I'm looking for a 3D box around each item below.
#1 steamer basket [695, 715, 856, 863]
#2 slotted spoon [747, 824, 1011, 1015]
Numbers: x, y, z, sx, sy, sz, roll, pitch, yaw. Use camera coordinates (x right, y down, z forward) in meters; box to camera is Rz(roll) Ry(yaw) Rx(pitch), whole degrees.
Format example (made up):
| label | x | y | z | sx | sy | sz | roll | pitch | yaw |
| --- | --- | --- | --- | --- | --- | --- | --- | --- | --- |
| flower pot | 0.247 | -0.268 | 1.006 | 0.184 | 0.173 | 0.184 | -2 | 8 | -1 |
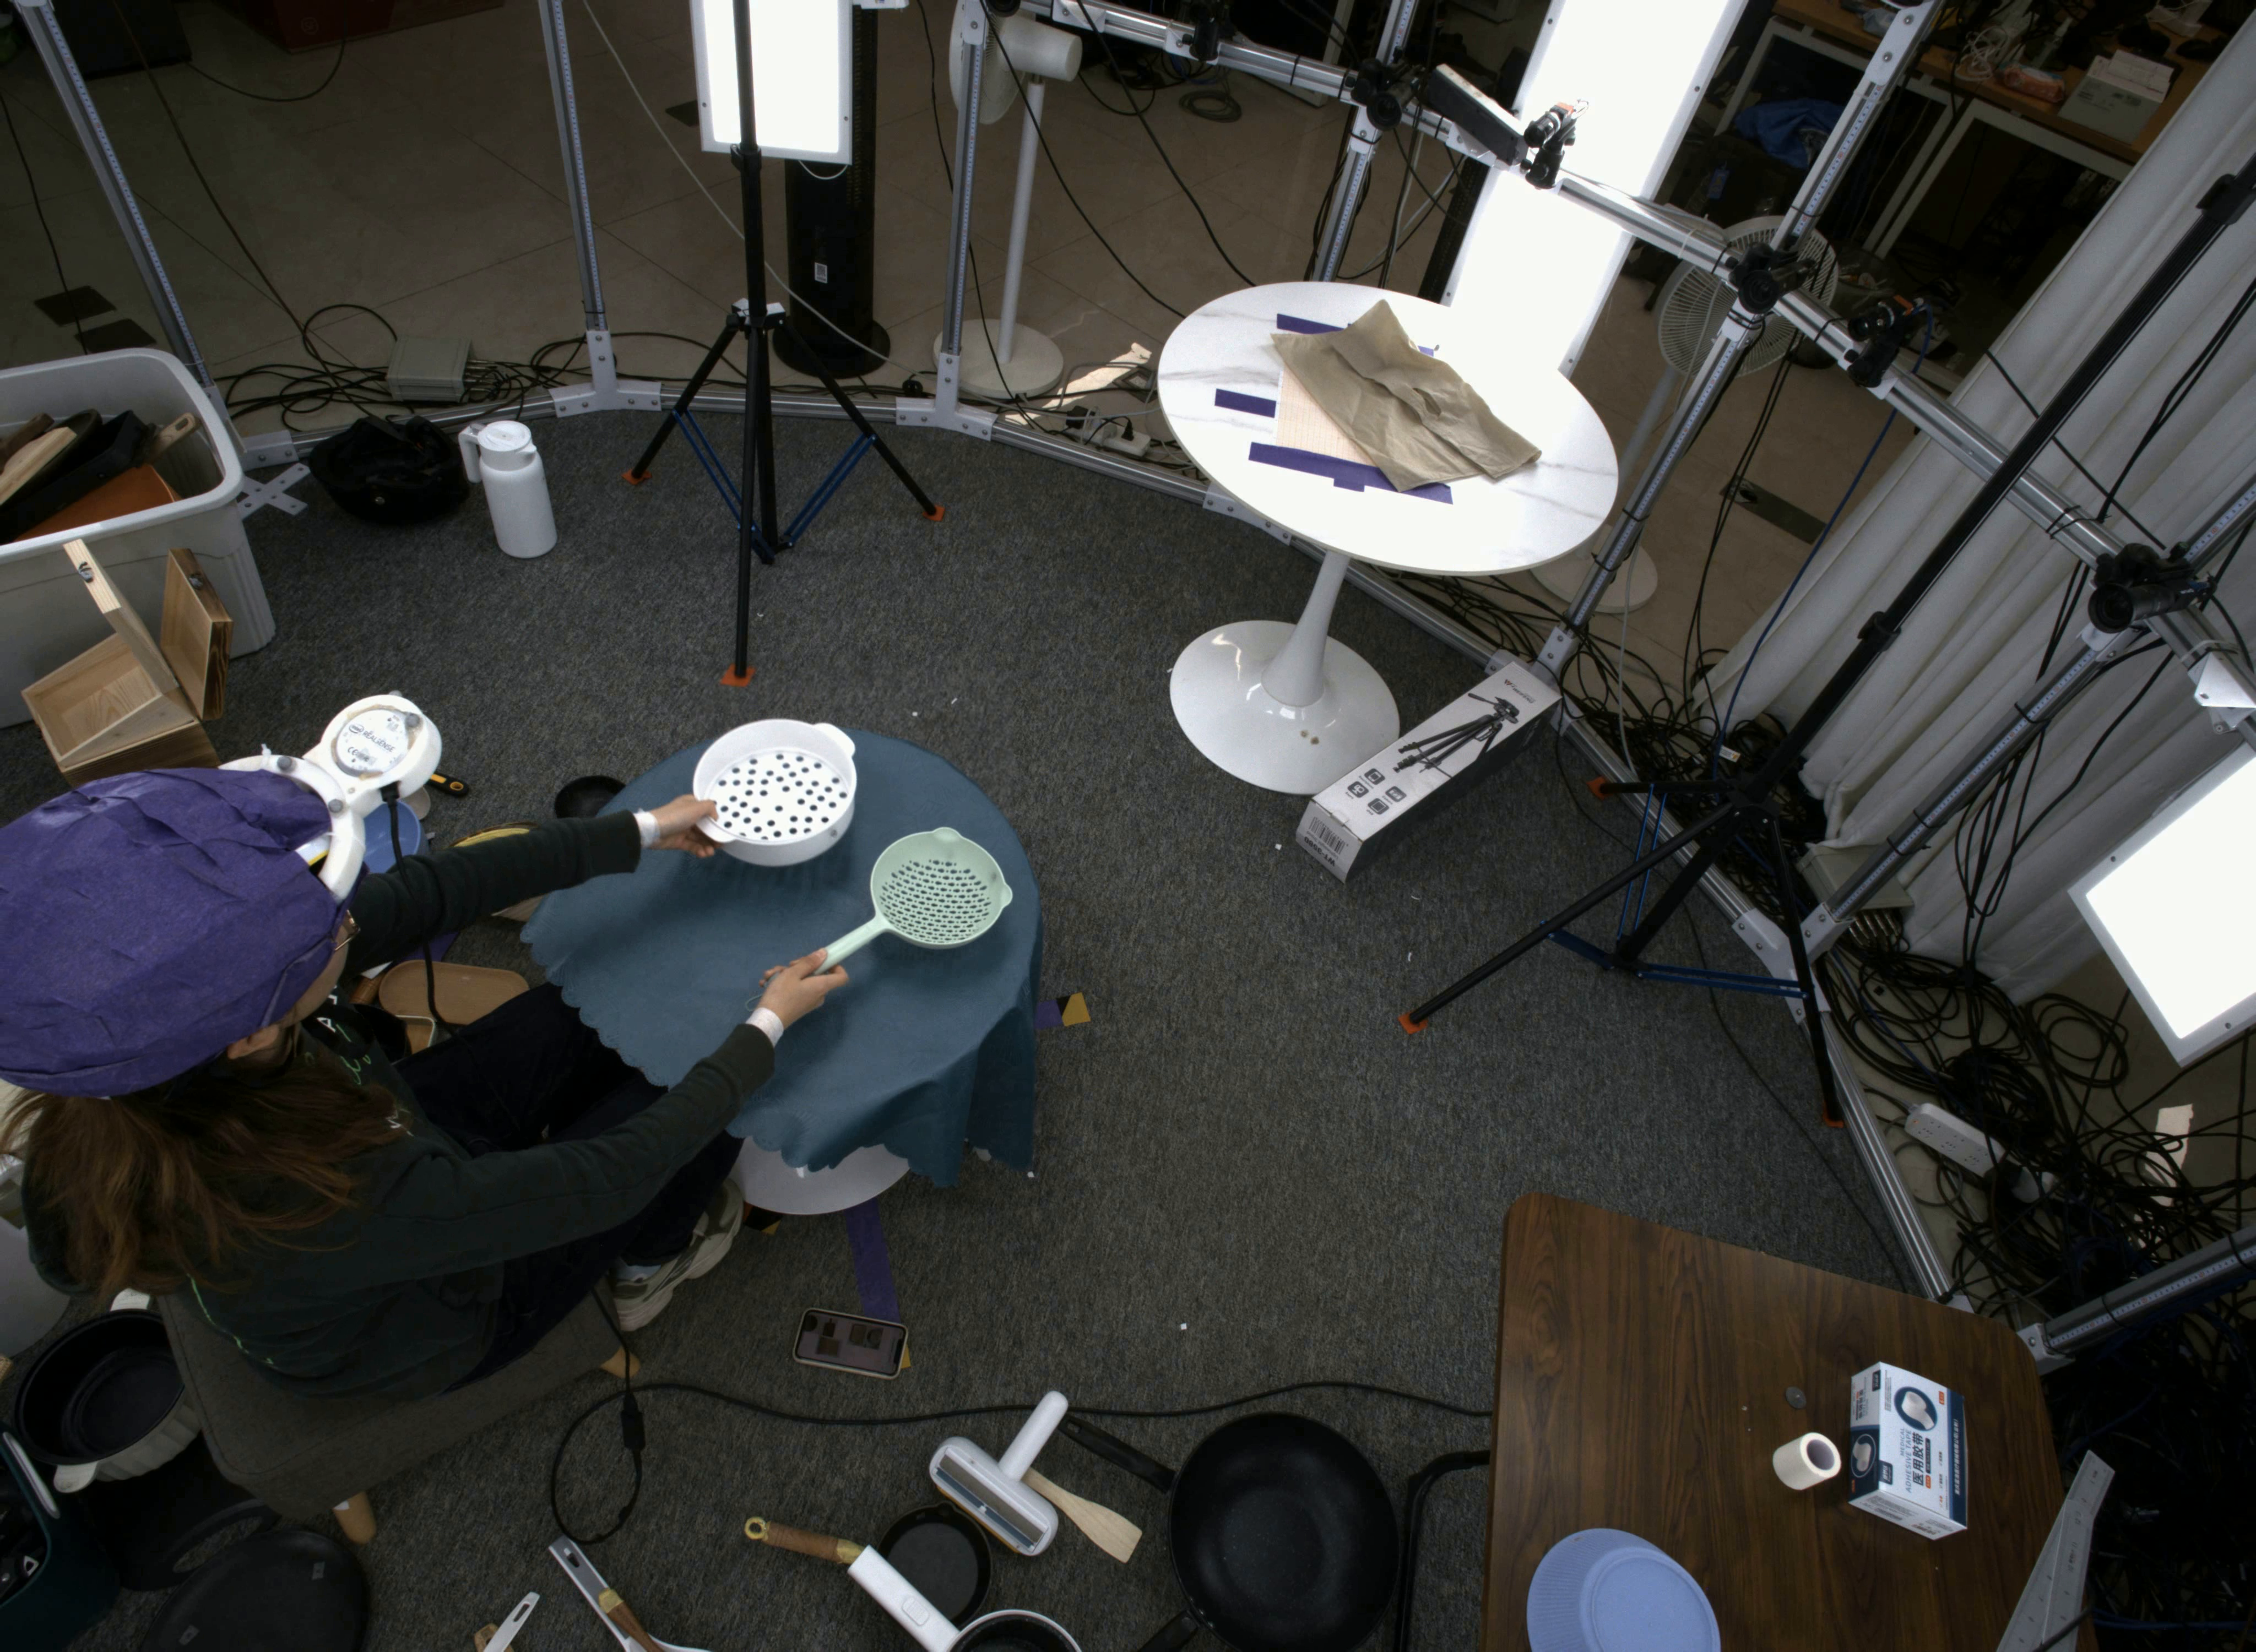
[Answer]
| label | x | y | z | sx | sy | sz | roll | pitch | yaw |
| --- | --- | --- | --- | --- | --- | --- | --- | --- | --- |
| steamer basket | -0.448 | -0.046 | 1.662 | 0.197 | 0.071 | 0.230 | 36 | 57 | 17 |
| slotted spoon | -0.309 | 0.124 | 1.588 | 0.166 | 0.076 | 0.361 | 45 | 46 | 17 |
